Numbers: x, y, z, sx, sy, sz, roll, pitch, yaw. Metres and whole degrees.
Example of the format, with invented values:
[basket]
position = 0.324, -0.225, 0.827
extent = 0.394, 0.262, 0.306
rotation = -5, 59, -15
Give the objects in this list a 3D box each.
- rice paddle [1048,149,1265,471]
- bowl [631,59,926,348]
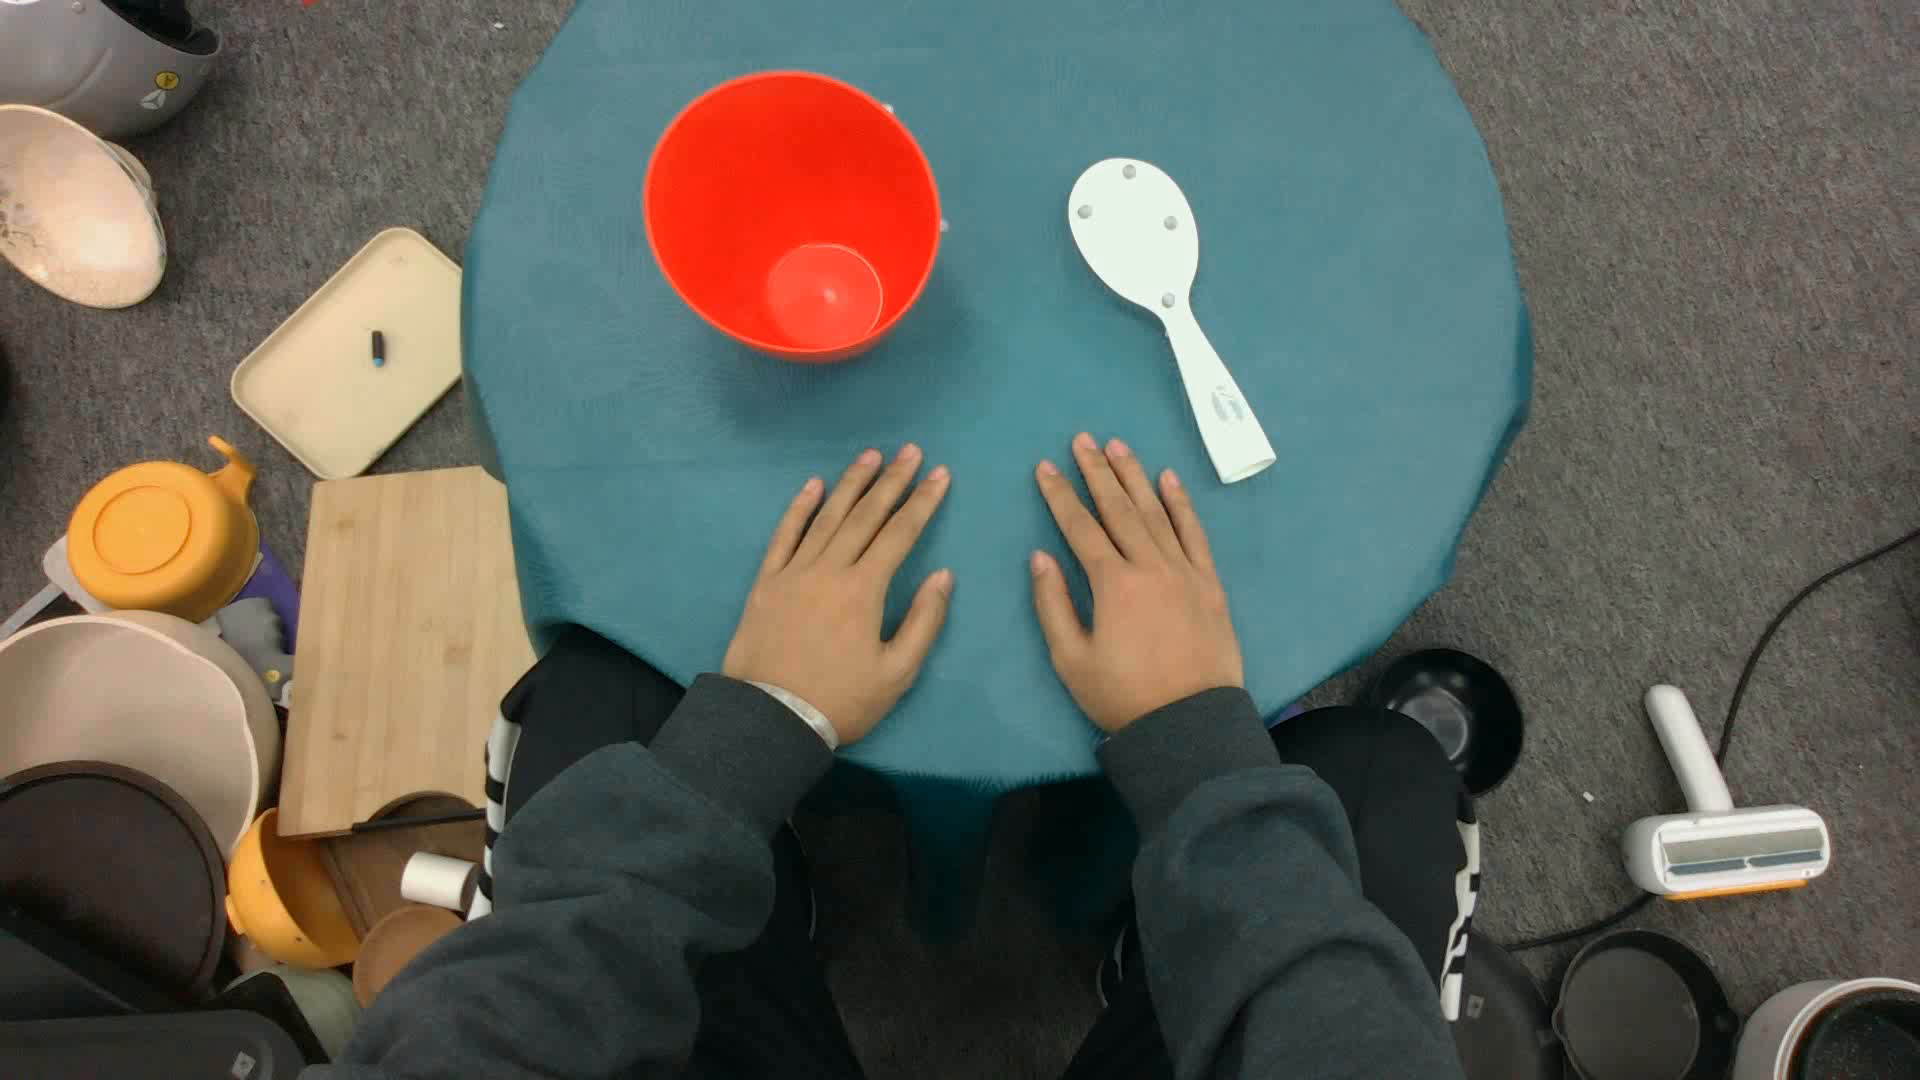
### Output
[rice paddle]
position = 0.110, -0.135, 0.770
extent = 0.069, 0.029, 0.205
rotation = -22, 76, -9
[bowl]
position = -0.092, -0.164, 0.735
extent = 0.148, 0.104, 0.148
rotation = 1, 75, -3
